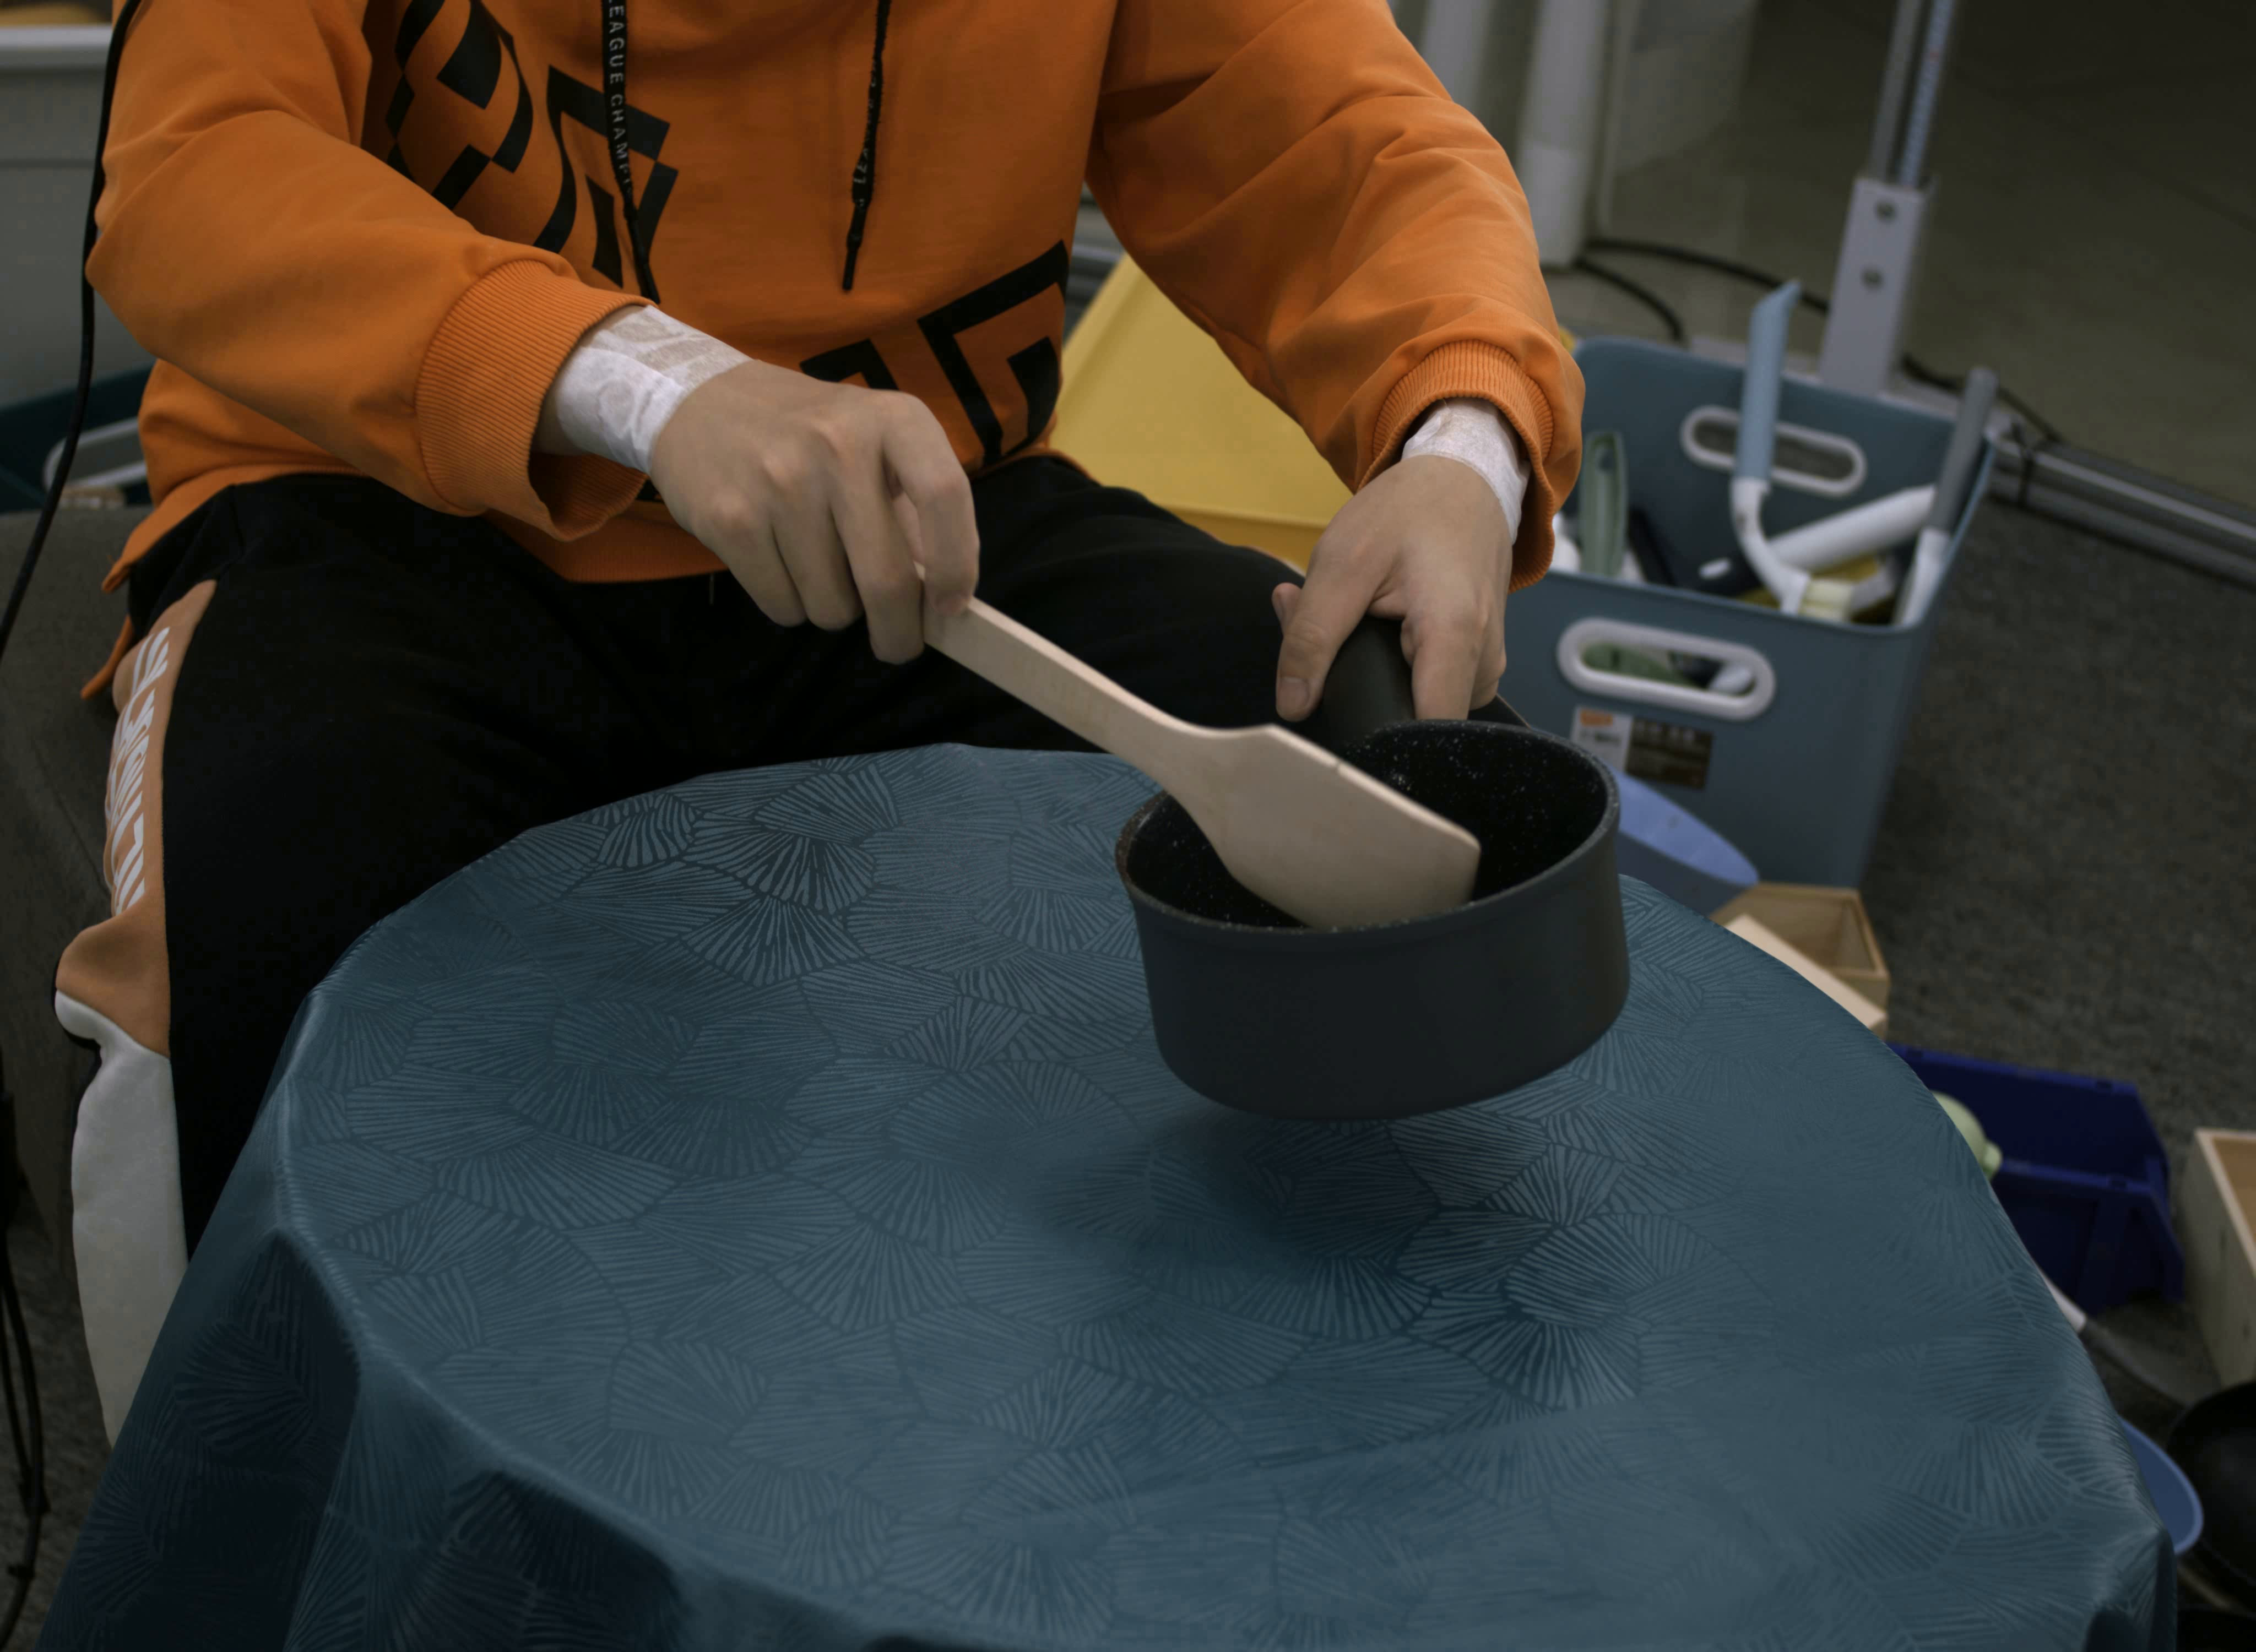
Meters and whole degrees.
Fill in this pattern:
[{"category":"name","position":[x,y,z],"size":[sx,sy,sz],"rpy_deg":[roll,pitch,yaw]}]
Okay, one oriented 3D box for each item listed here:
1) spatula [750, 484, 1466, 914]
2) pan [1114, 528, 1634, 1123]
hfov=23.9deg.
[{"category":"spatula","position":[-0.013,-0.043,1.803],"size":[0.294,0.072,0.010],"rpy_deg":[30,46,21]},{"category":"pan","position":[0.090,-0.004,1.866],"size":[0.172,0.086,0.330],"rpy_deg":[-5,25,7]}]
